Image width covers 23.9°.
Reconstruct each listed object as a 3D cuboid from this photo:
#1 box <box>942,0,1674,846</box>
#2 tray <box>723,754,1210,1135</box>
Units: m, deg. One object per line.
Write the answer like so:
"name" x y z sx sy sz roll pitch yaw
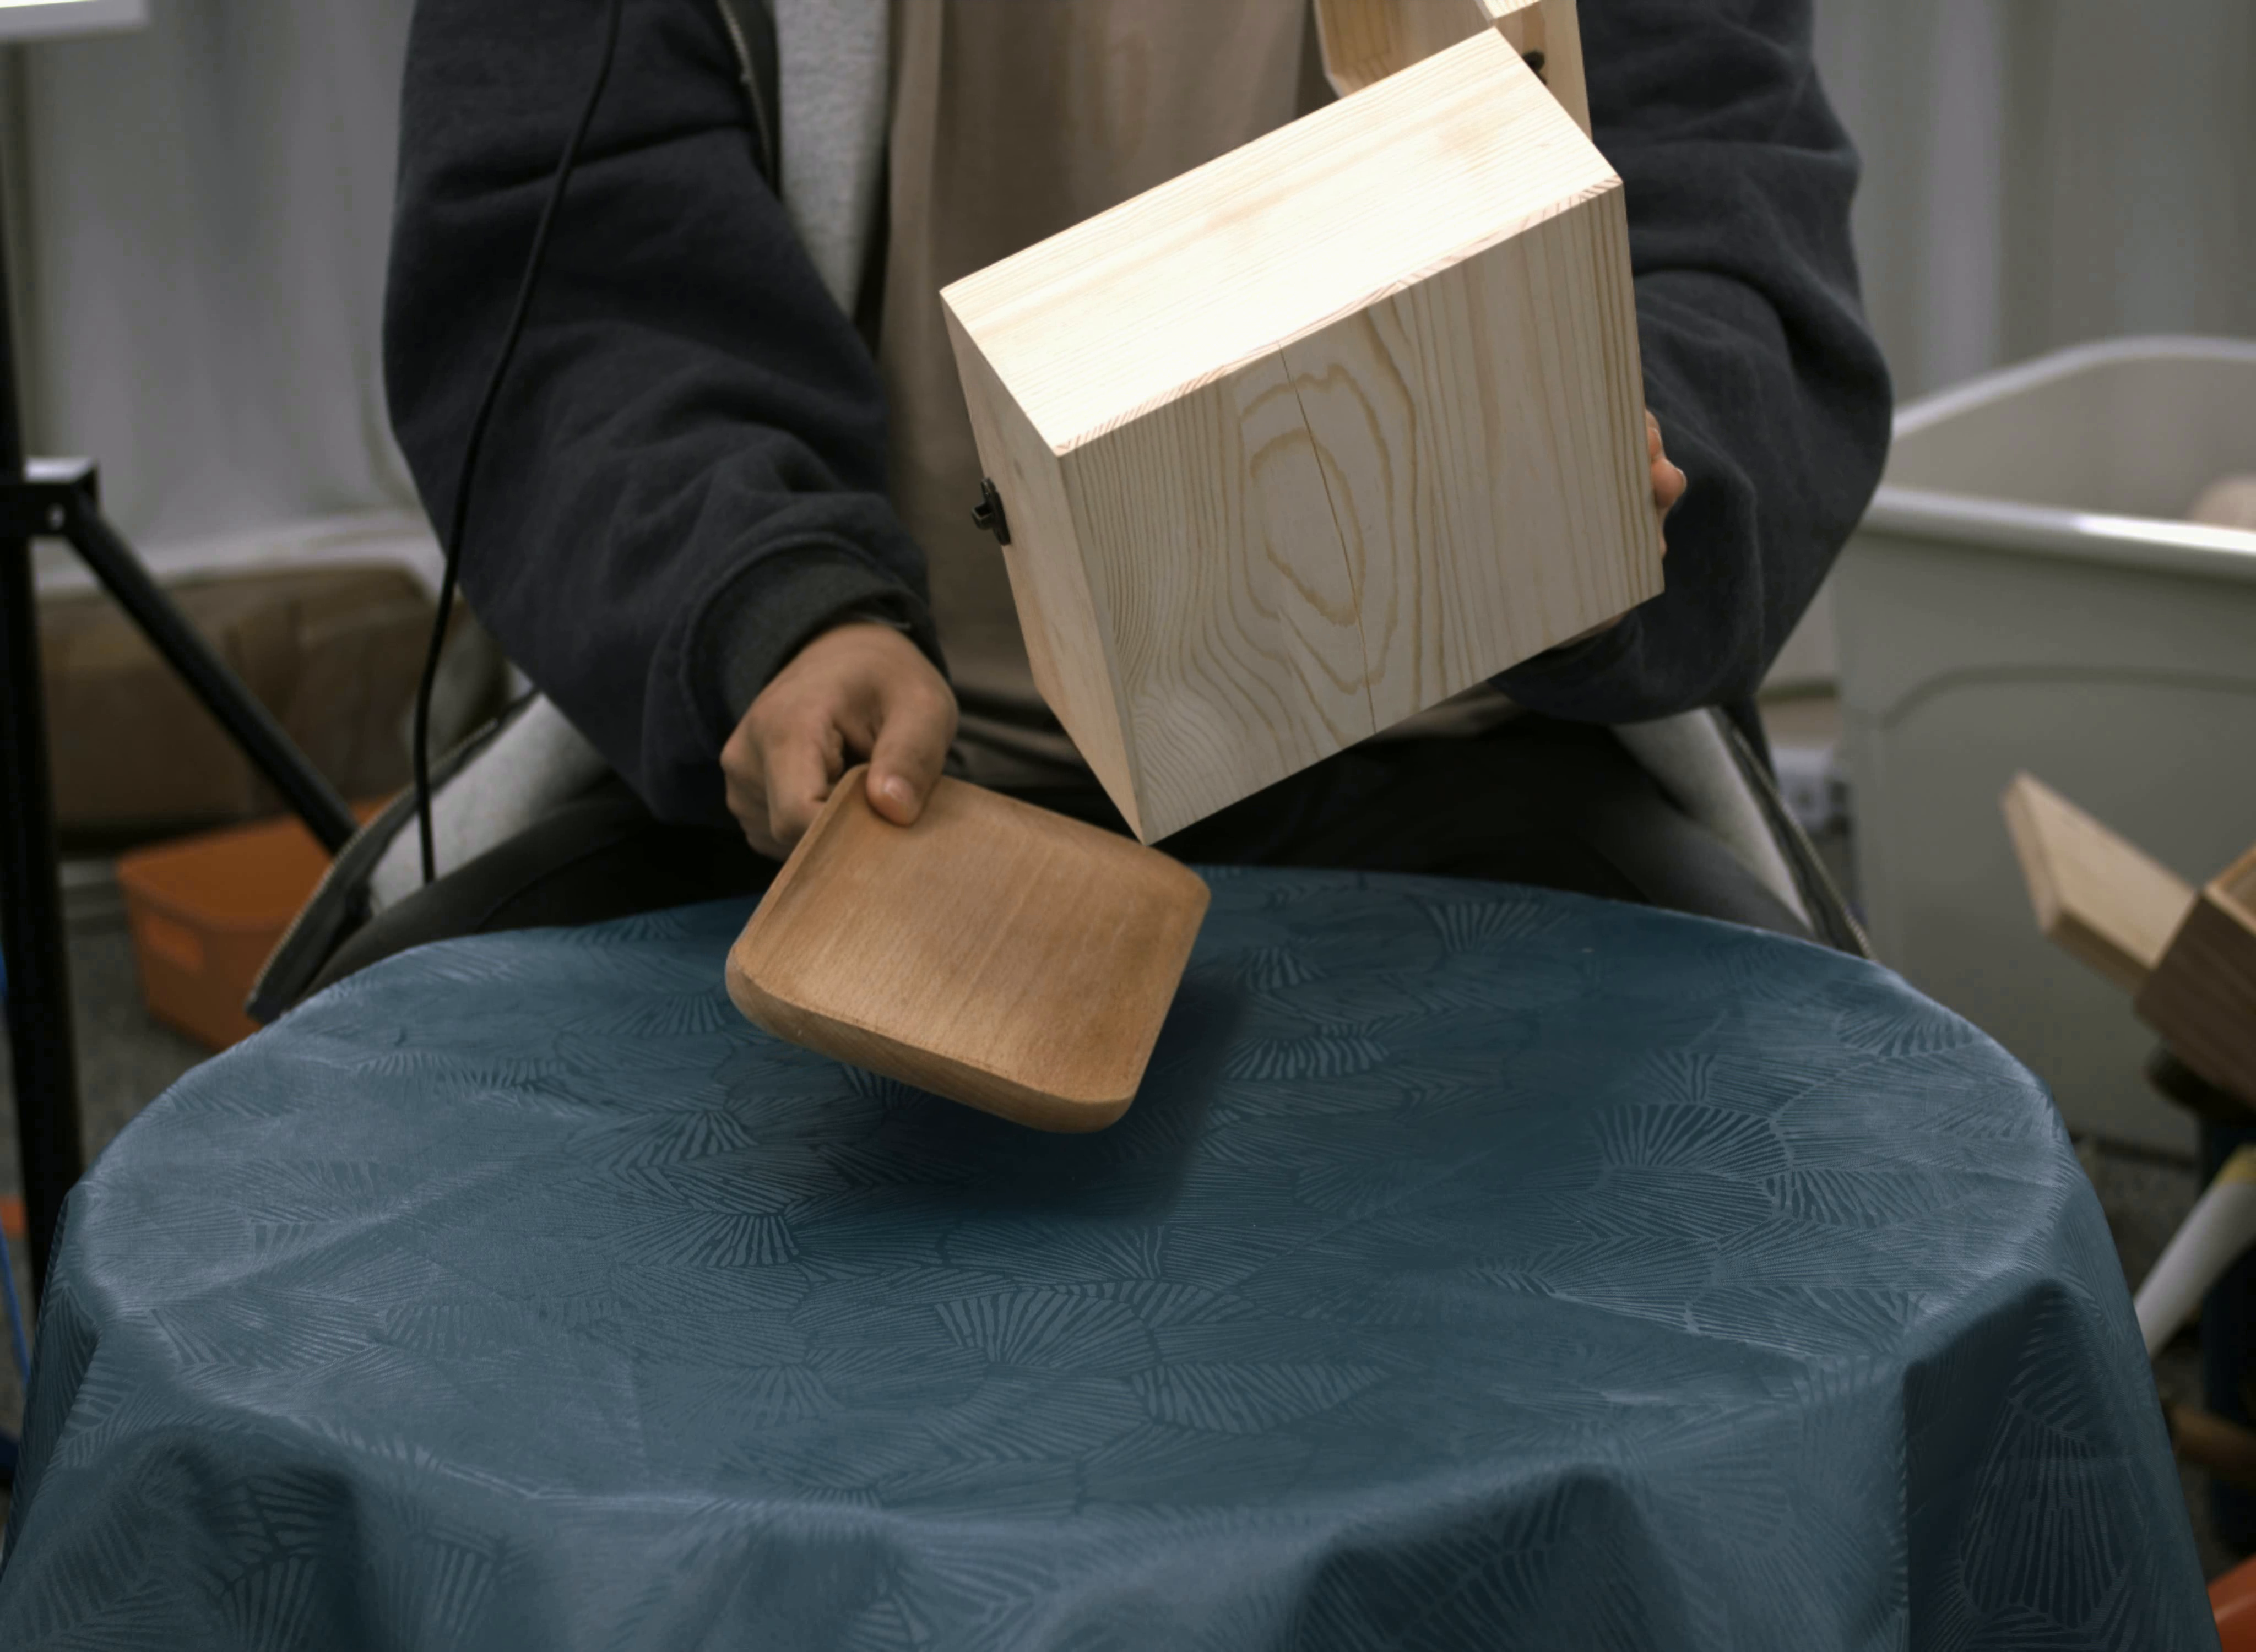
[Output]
"box" 0.049 -0.183 1.611 0.263 0.179 0.258 -25 49 -9
"tray" -0.047 0.034 1.653 0.130 0.023 0.250 22 17 2
